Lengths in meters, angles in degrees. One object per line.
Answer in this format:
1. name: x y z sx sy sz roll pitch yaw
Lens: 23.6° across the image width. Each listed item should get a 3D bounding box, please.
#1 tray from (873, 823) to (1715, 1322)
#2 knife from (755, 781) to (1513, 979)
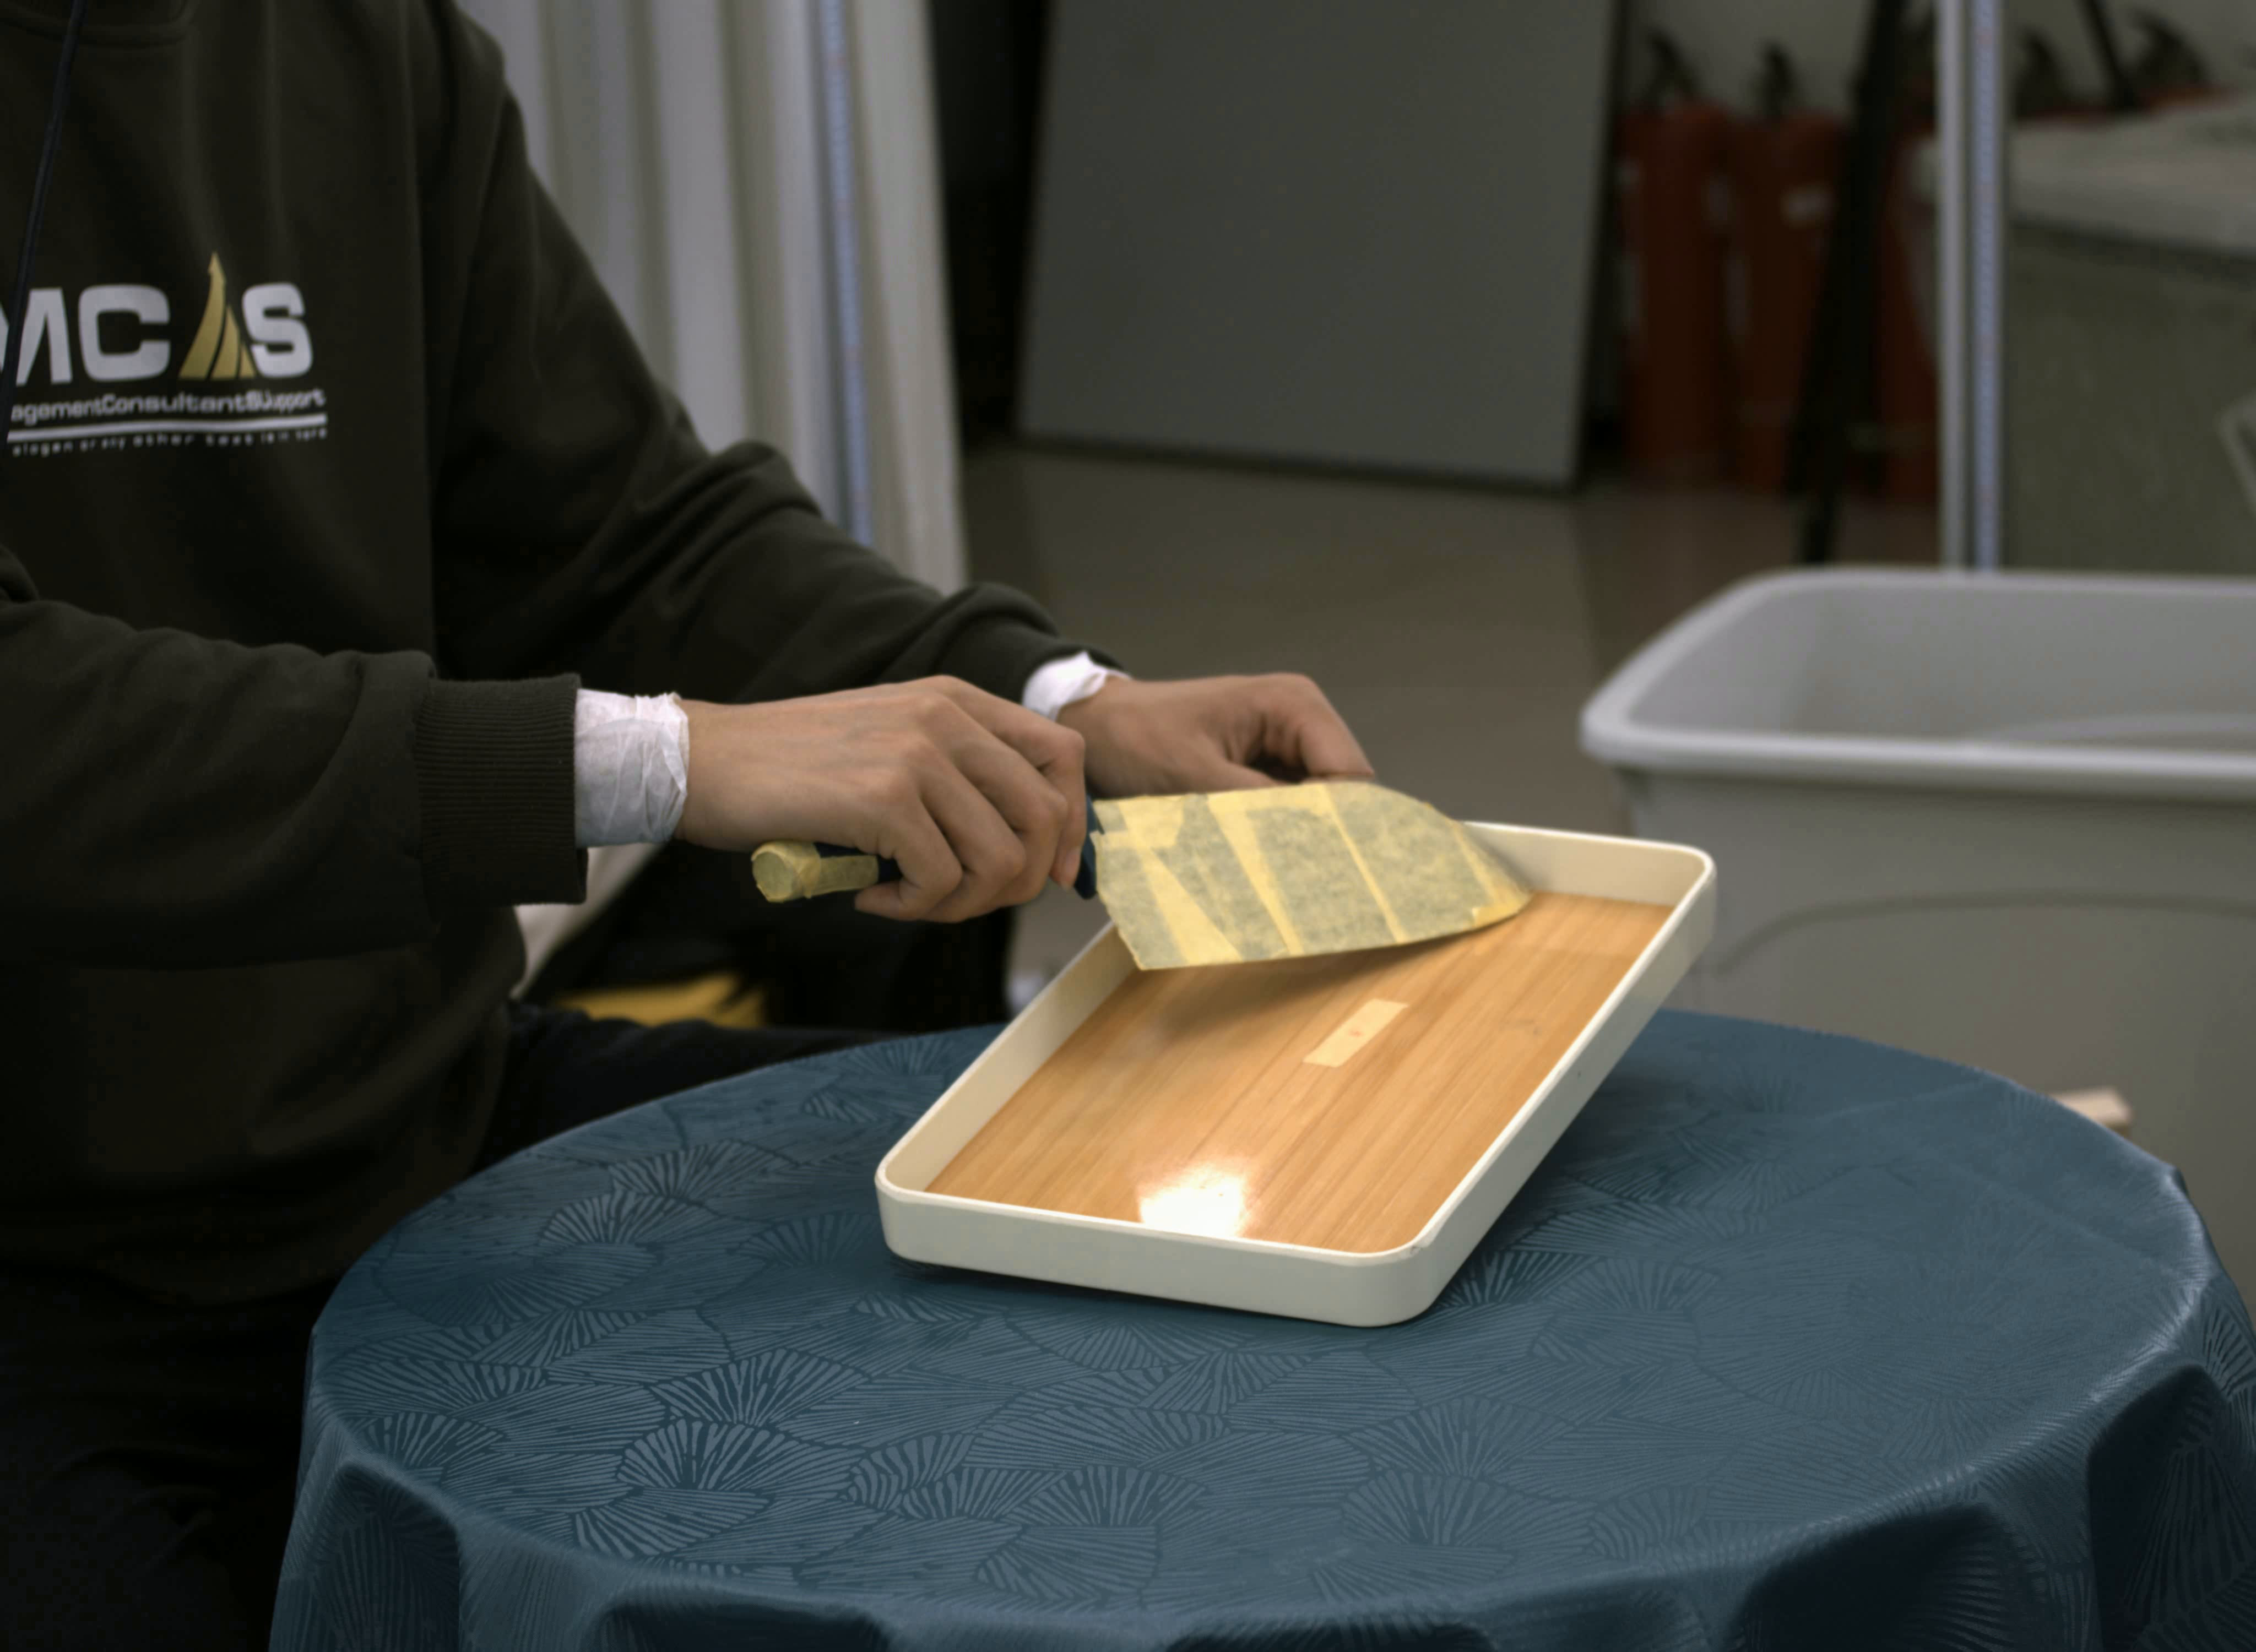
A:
1. tray: 0.061 0.072 1.775 0.192 0.027 0.297 5 26 26
2. knife: 0.009 0.020 1.814 0.283 0.027 0.082 -4 48 -28
